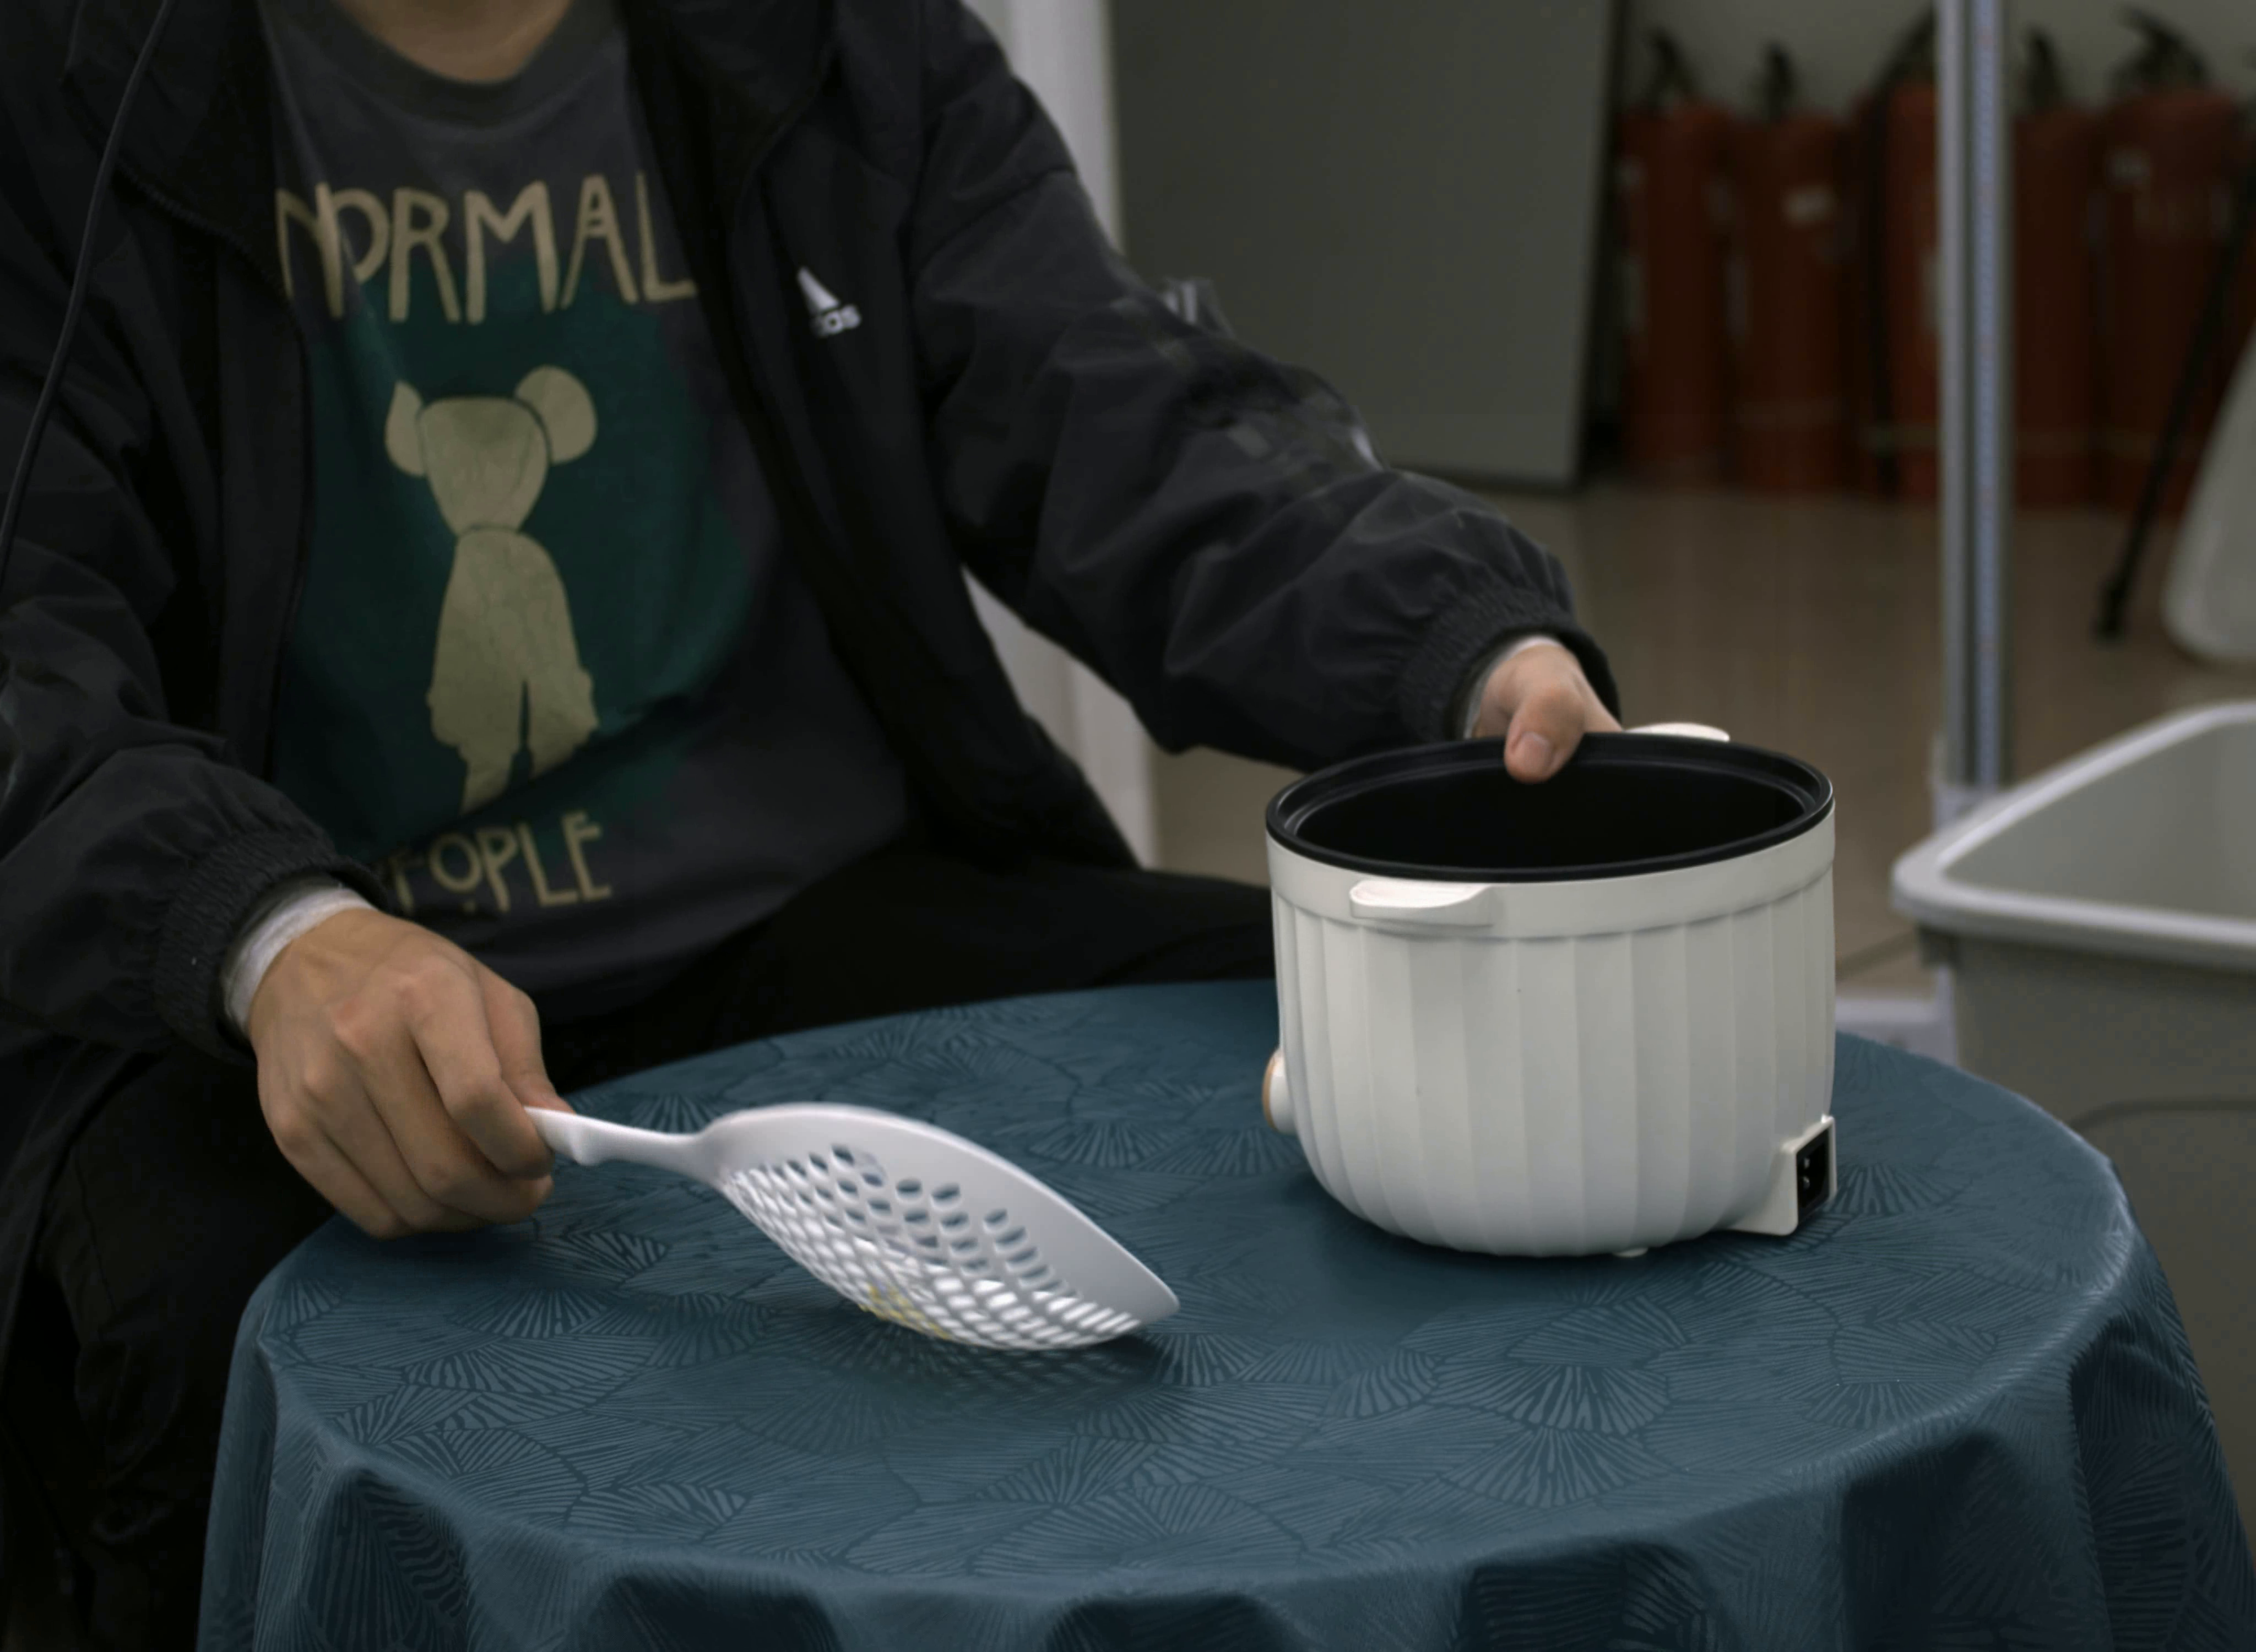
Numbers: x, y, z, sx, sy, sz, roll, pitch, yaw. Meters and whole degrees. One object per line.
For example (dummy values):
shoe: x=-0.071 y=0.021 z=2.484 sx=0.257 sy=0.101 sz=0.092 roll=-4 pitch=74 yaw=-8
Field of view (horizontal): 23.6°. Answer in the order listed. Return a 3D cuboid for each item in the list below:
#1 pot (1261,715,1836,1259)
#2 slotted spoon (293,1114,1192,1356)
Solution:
pot: x=0.131 y=0.054 z=1.716 sx=0.191 sy=0.144 sz=0.237 roll=7 pitch=16 yaw=28
slotted spoon: x=-0.132 y=0.116 z=1.676 sx=0.351 sy=0.050 sz=0.135 roll=12 pitch=-18 yaw=43
